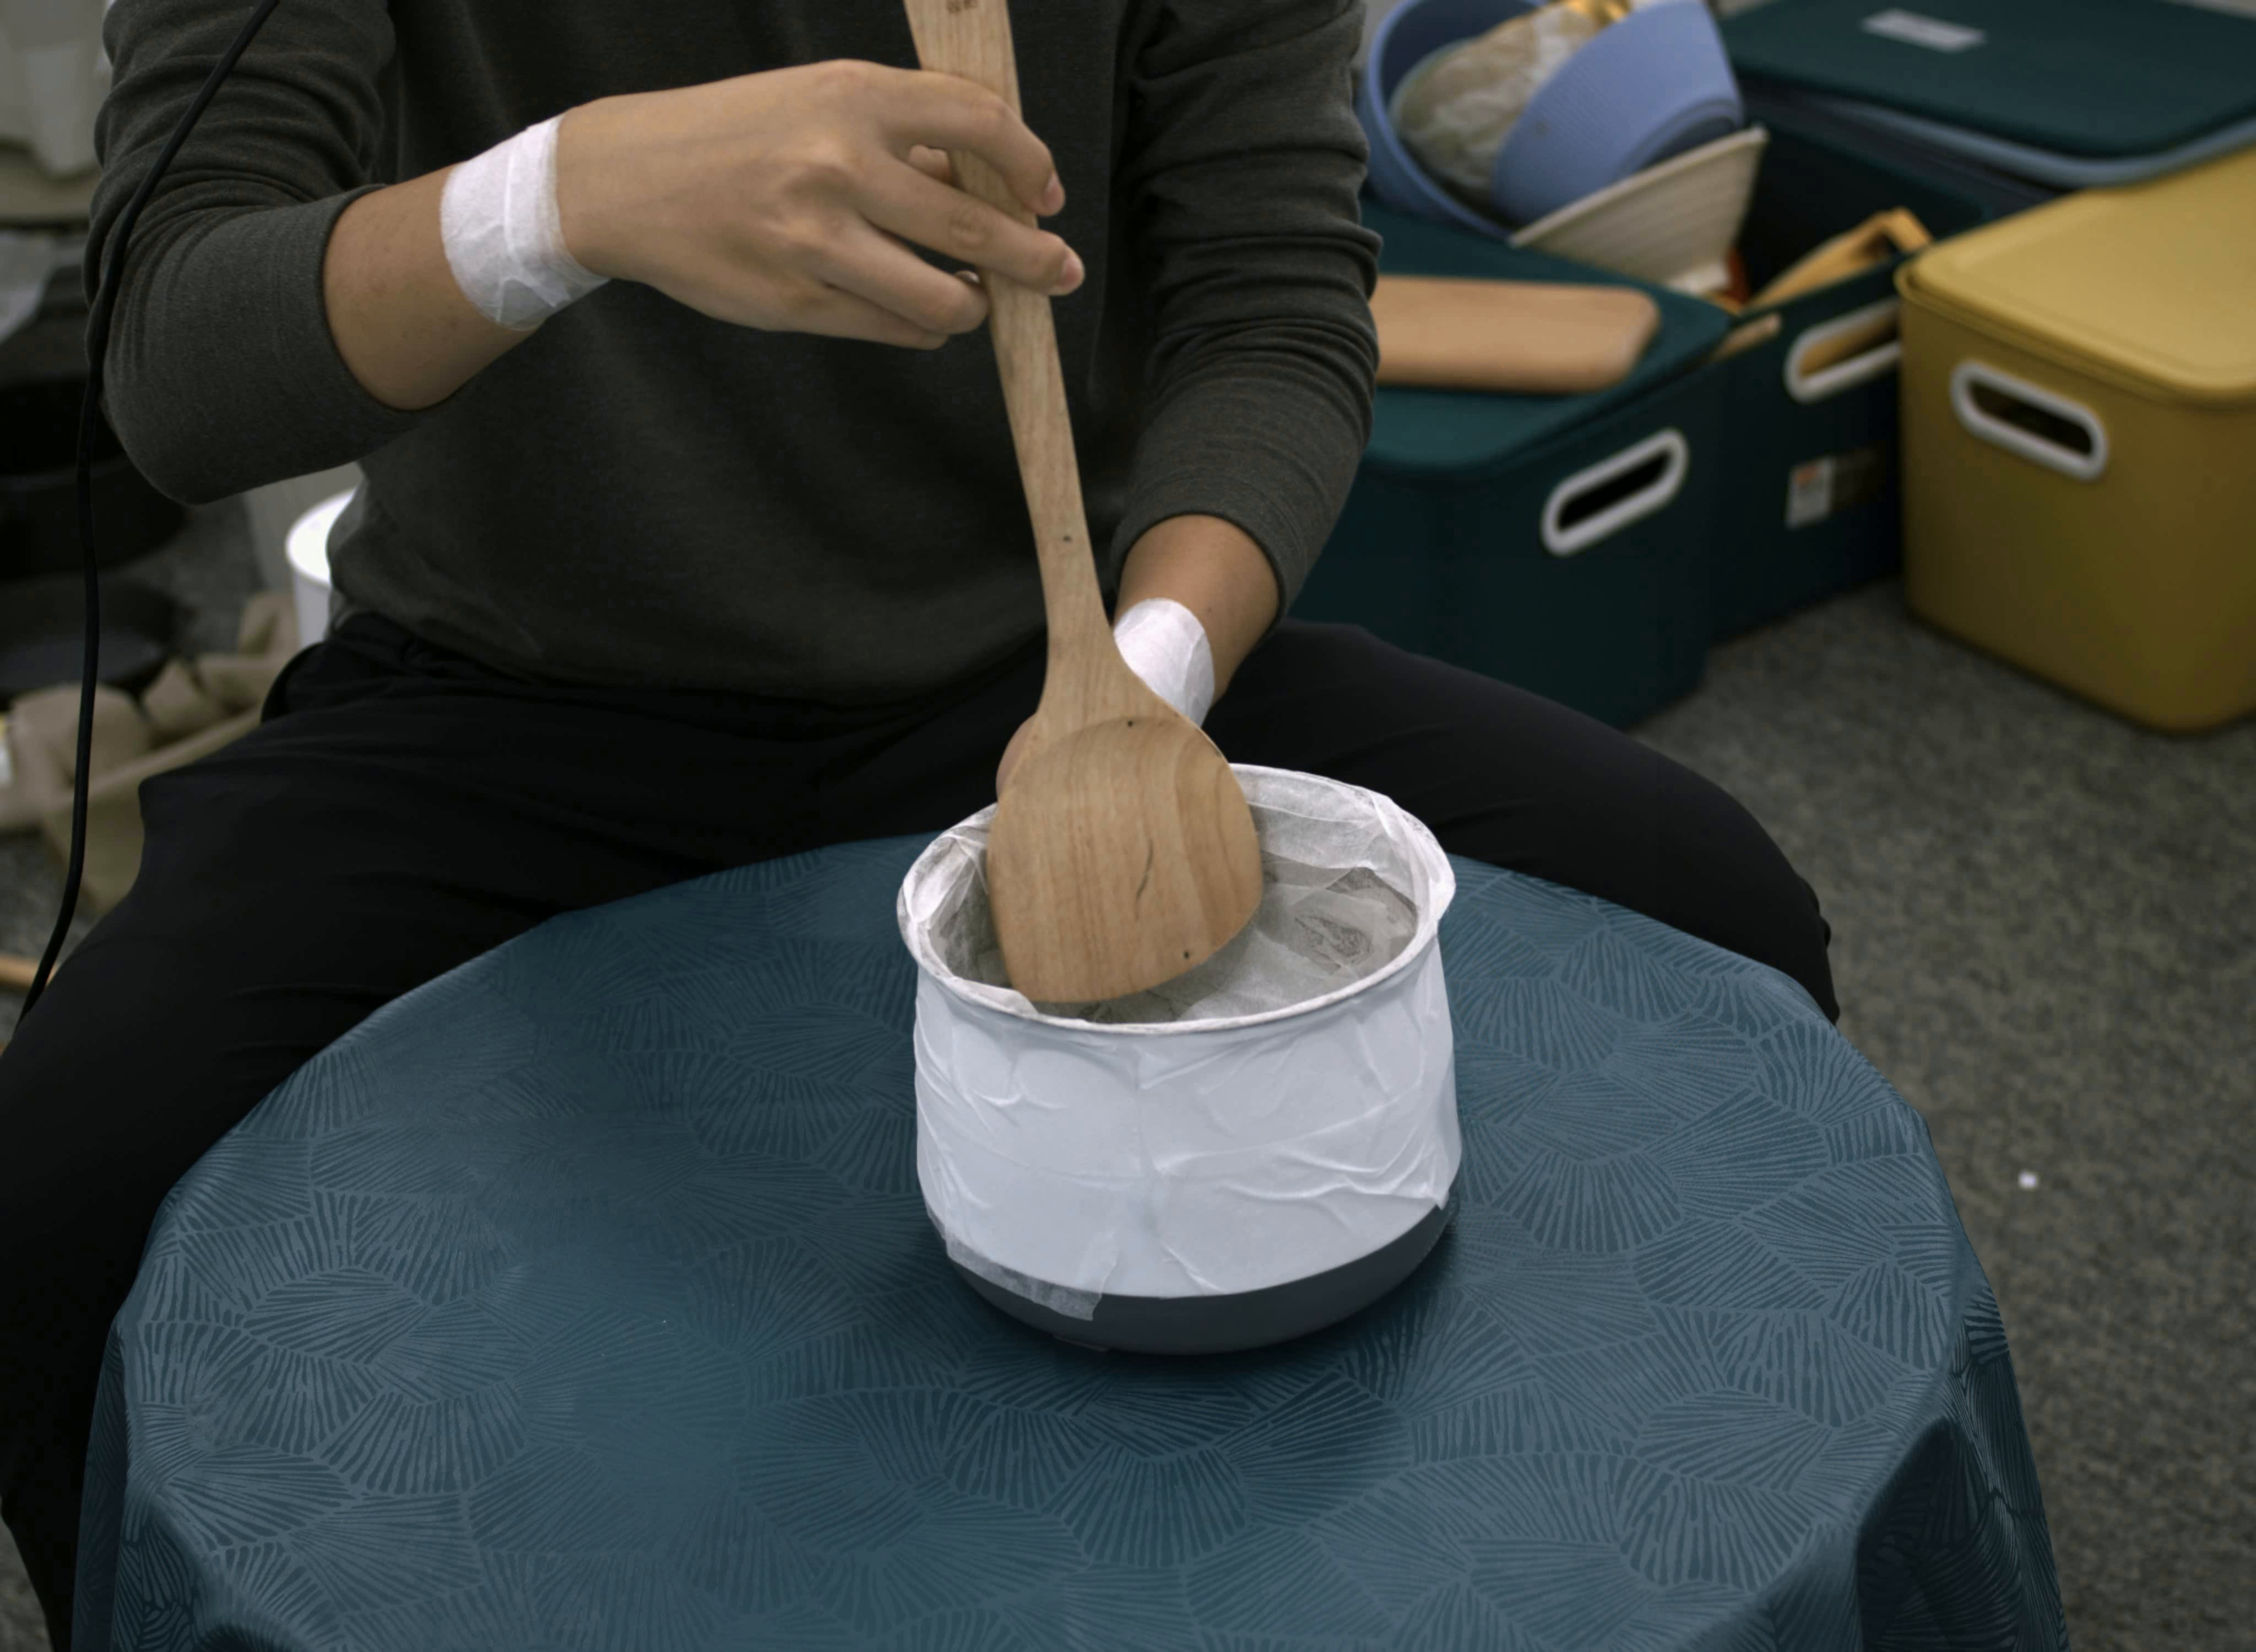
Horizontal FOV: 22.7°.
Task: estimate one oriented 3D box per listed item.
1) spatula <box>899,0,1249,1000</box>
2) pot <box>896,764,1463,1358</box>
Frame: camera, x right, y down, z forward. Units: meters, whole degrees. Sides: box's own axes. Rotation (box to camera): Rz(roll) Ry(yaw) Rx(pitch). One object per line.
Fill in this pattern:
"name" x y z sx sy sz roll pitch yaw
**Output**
"spatula" -0.033 -0.122 1.769 0.096 0.387 0.018 -19 26 -18
"pot" 0.012 0.065 1.826 0.178 0.135 0.236 -9 27 -11
